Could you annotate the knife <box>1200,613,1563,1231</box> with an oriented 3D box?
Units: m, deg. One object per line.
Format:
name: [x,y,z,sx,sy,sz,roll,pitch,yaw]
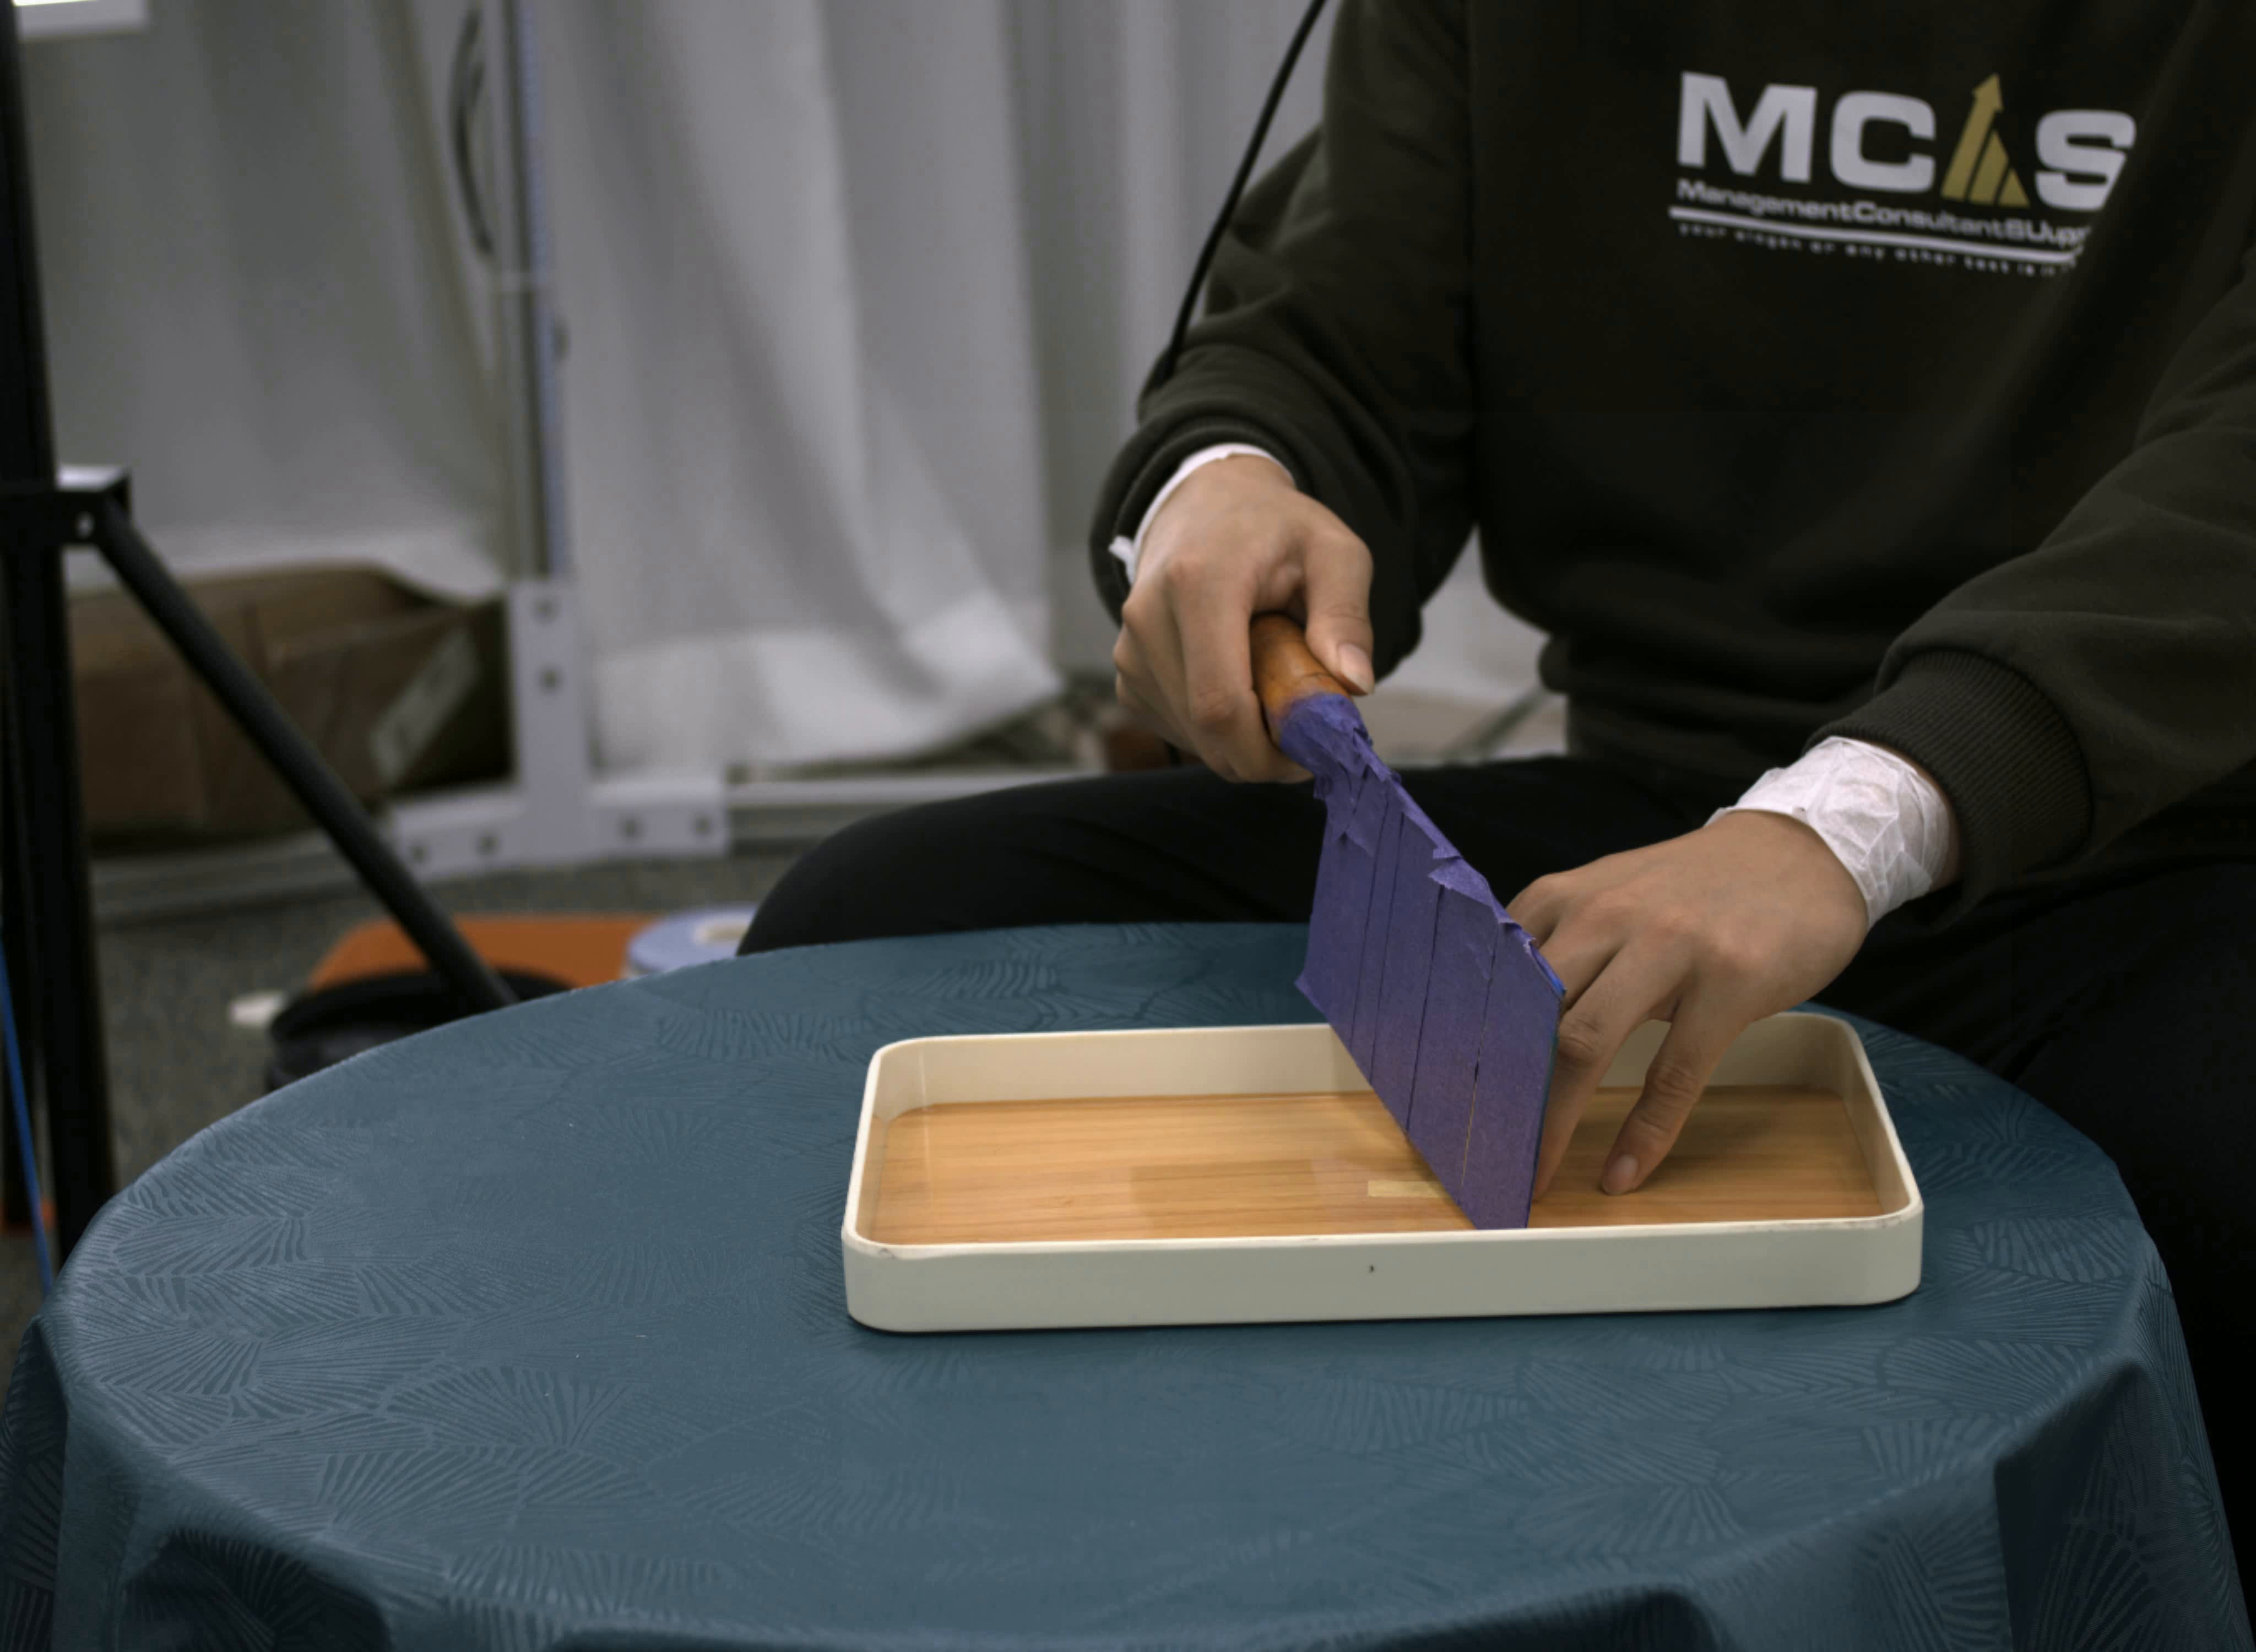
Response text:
knife: [0.069,0.026,1.585,0.031,0.104,0.320,4,19,-15]

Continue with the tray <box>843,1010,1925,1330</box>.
tray: [0.071,0.098,1.536,0.299,0.027,0.192,-2,16,3]
